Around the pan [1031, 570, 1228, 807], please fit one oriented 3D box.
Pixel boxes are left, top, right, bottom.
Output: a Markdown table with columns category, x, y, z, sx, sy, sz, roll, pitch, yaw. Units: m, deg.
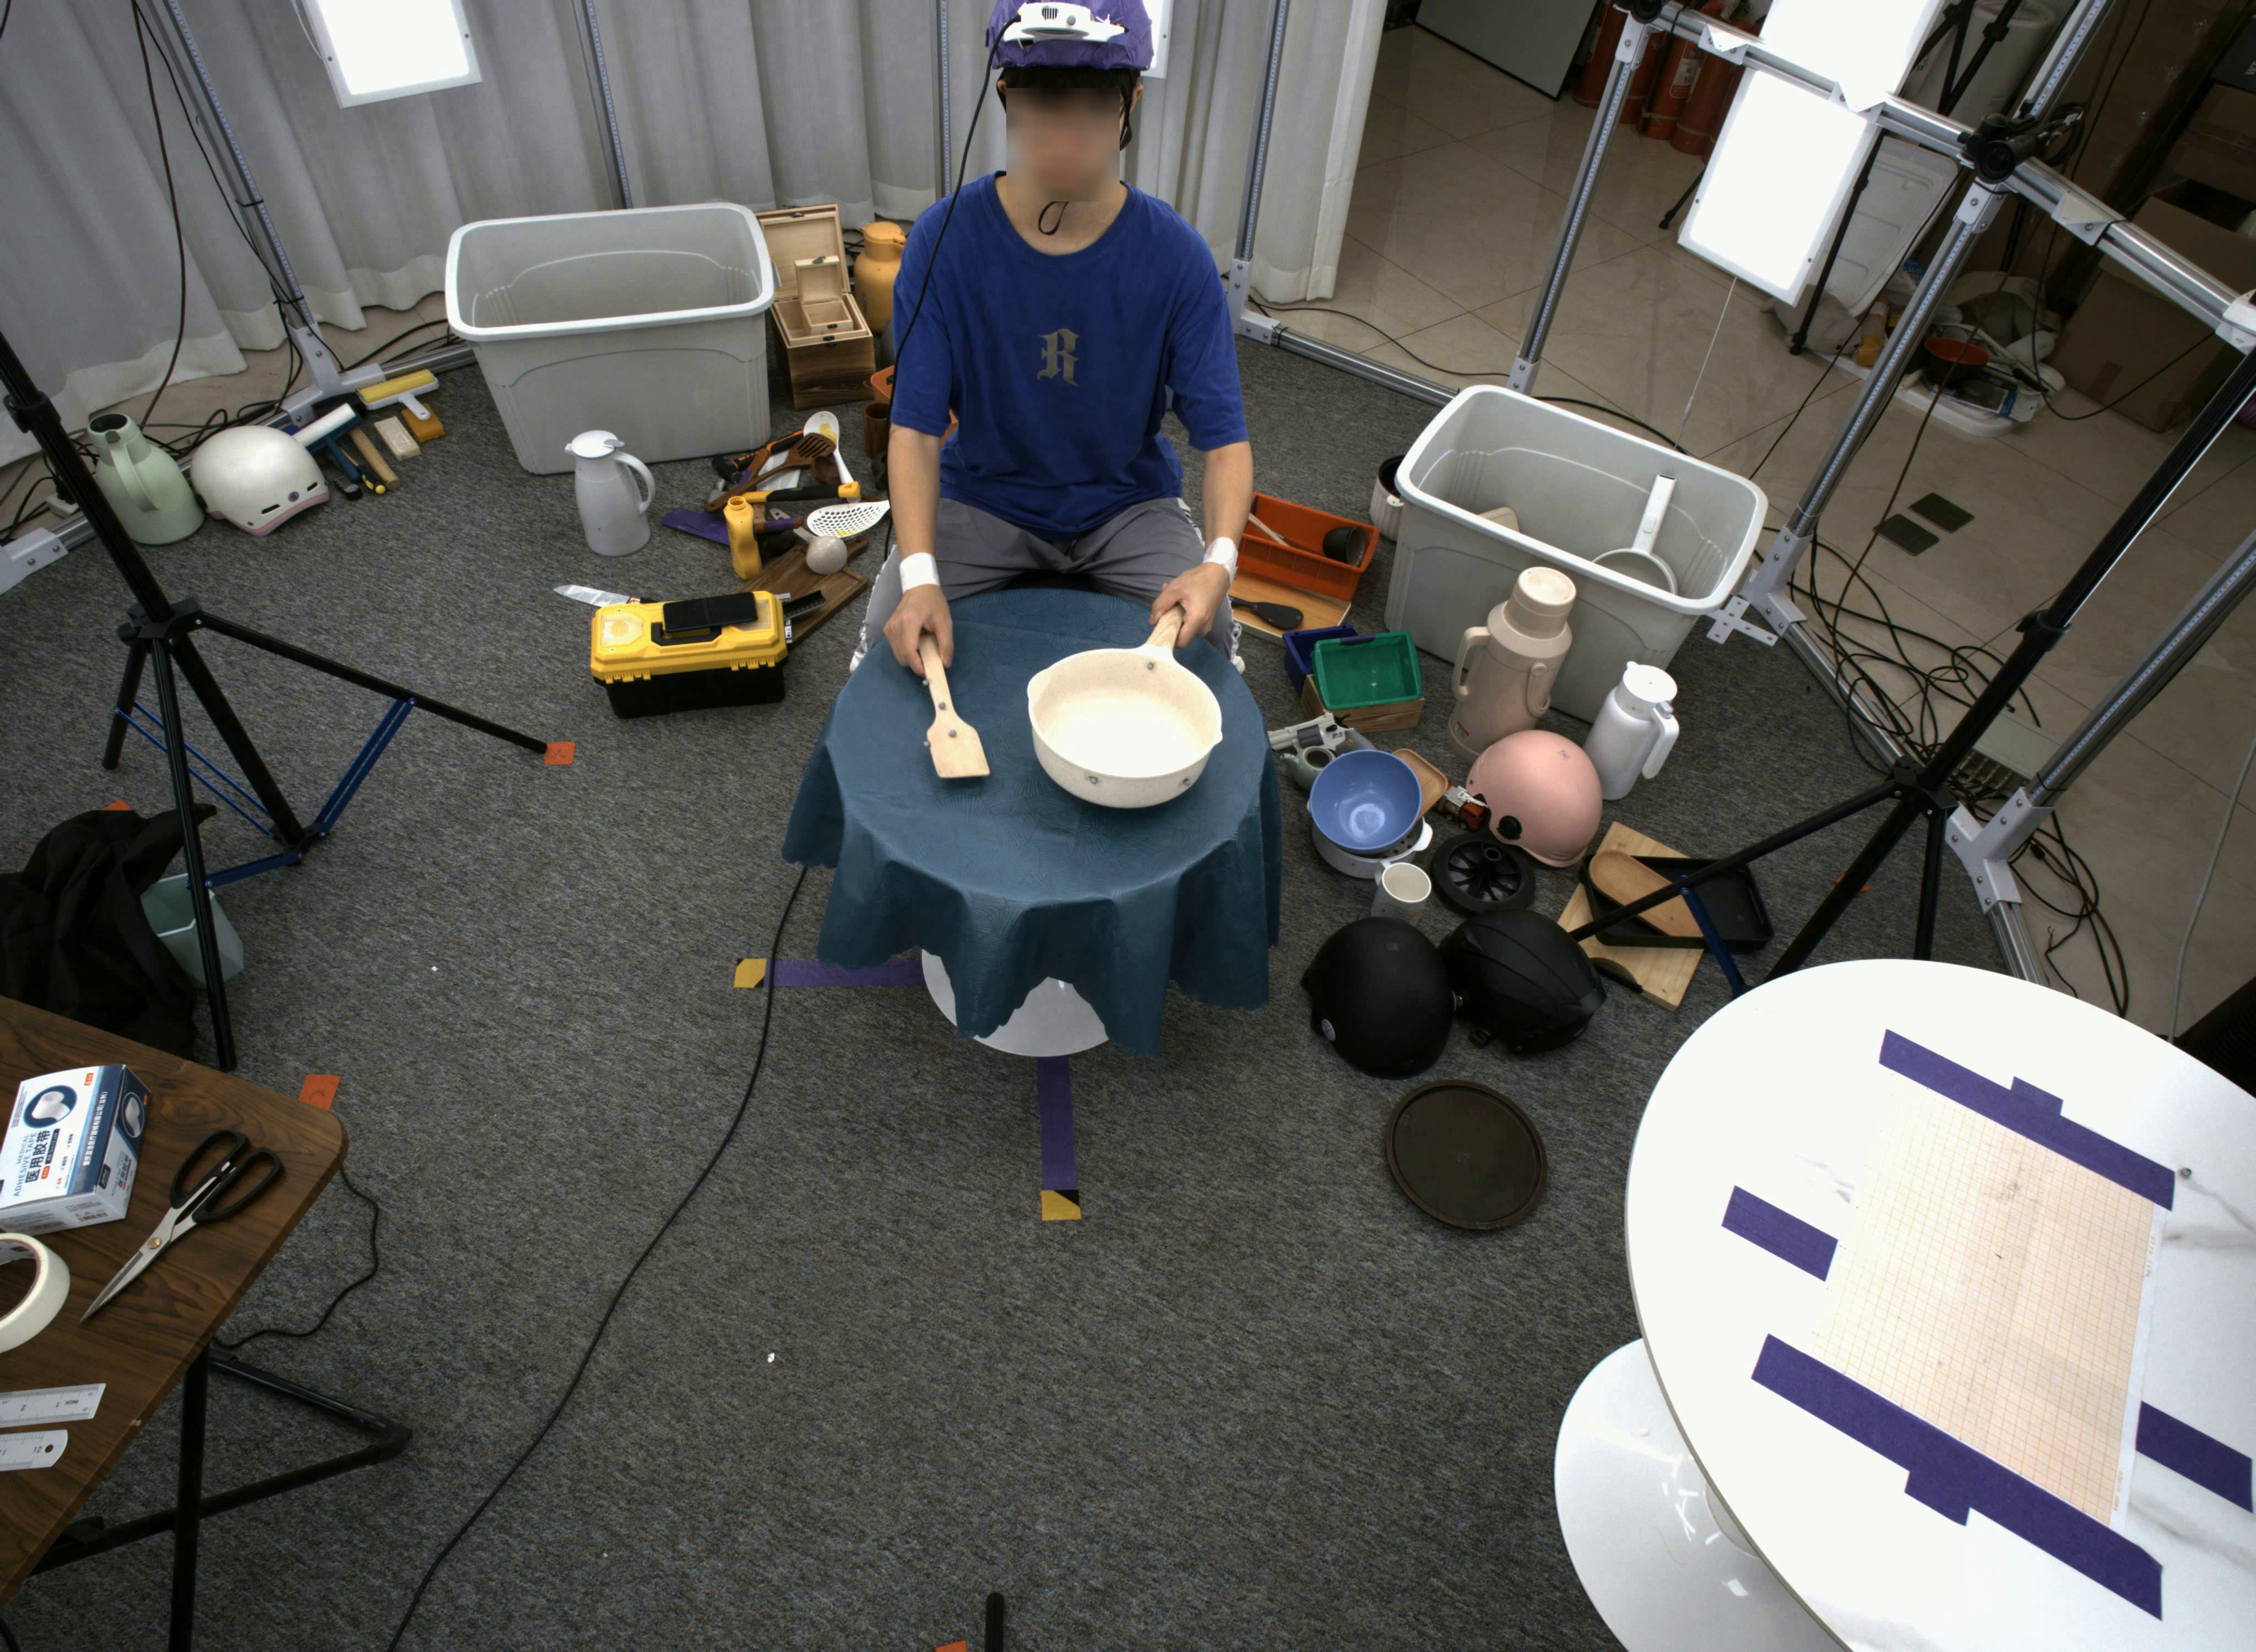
| category | x | y | z | sx | sy | sz | roll | pitch | yaw |
| --- | --- | --- | --- | --- | --- | --- | --- | --- | --- |
| pan | 0.026 | -0.191 | 1.750 | 0.264 | 0.099 | 0.444 | 15 | 45 | 9 |

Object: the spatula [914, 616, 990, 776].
| category | x | y | z | sx | sy | sz | roll | pitch | yaw |
| --- | --- | --- | --- | --- | --- | --- | --- | --- | --- |
| spatula | -0.255 | -0.184 | 1.767 | 0.072 | 0.010 | 0.300 | -6 | 54 | -19 |
